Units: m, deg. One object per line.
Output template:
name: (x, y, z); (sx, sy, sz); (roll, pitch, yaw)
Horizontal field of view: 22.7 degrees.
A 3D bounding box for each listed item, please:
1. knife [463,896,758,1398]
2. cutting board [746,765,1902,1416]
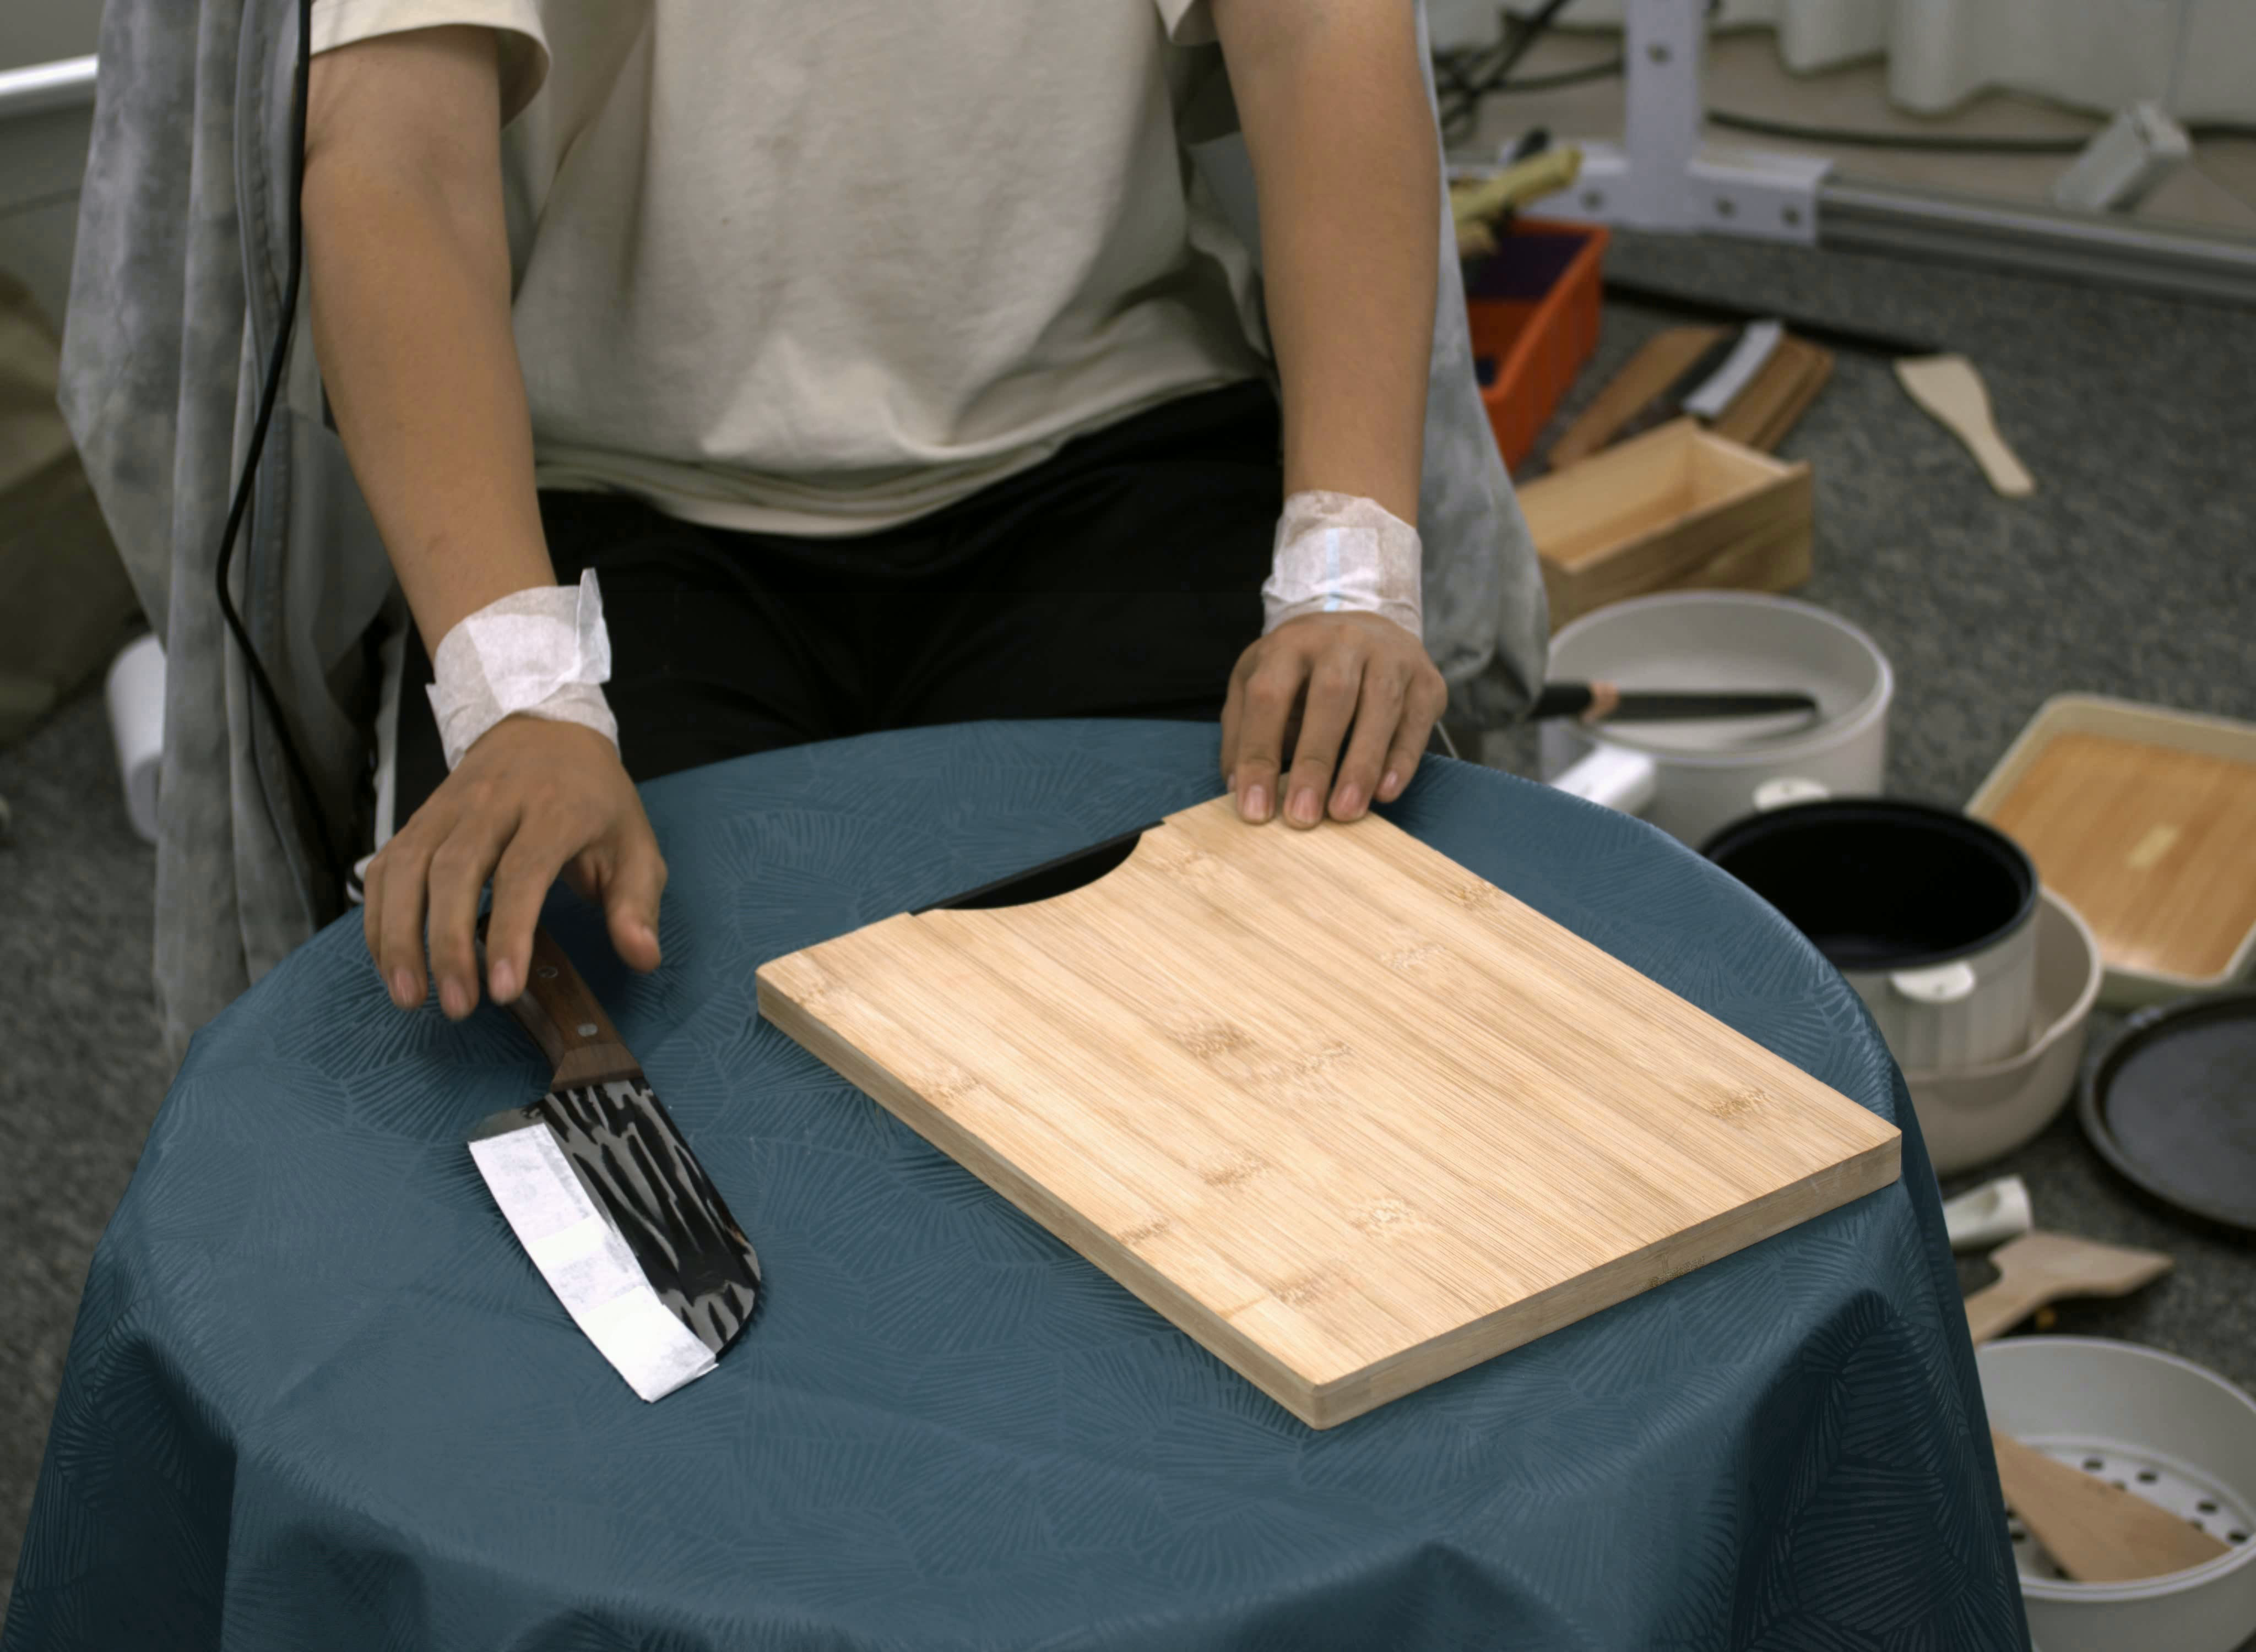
knife: (-0.185, 0.106, 1.888); (0.068, 0.023, 0.302); (-15, 32, -16)
cutting board: (0.059, 0.082, 1.914); (0.253, 0.023, 0.349); (-20, 31, -30)
